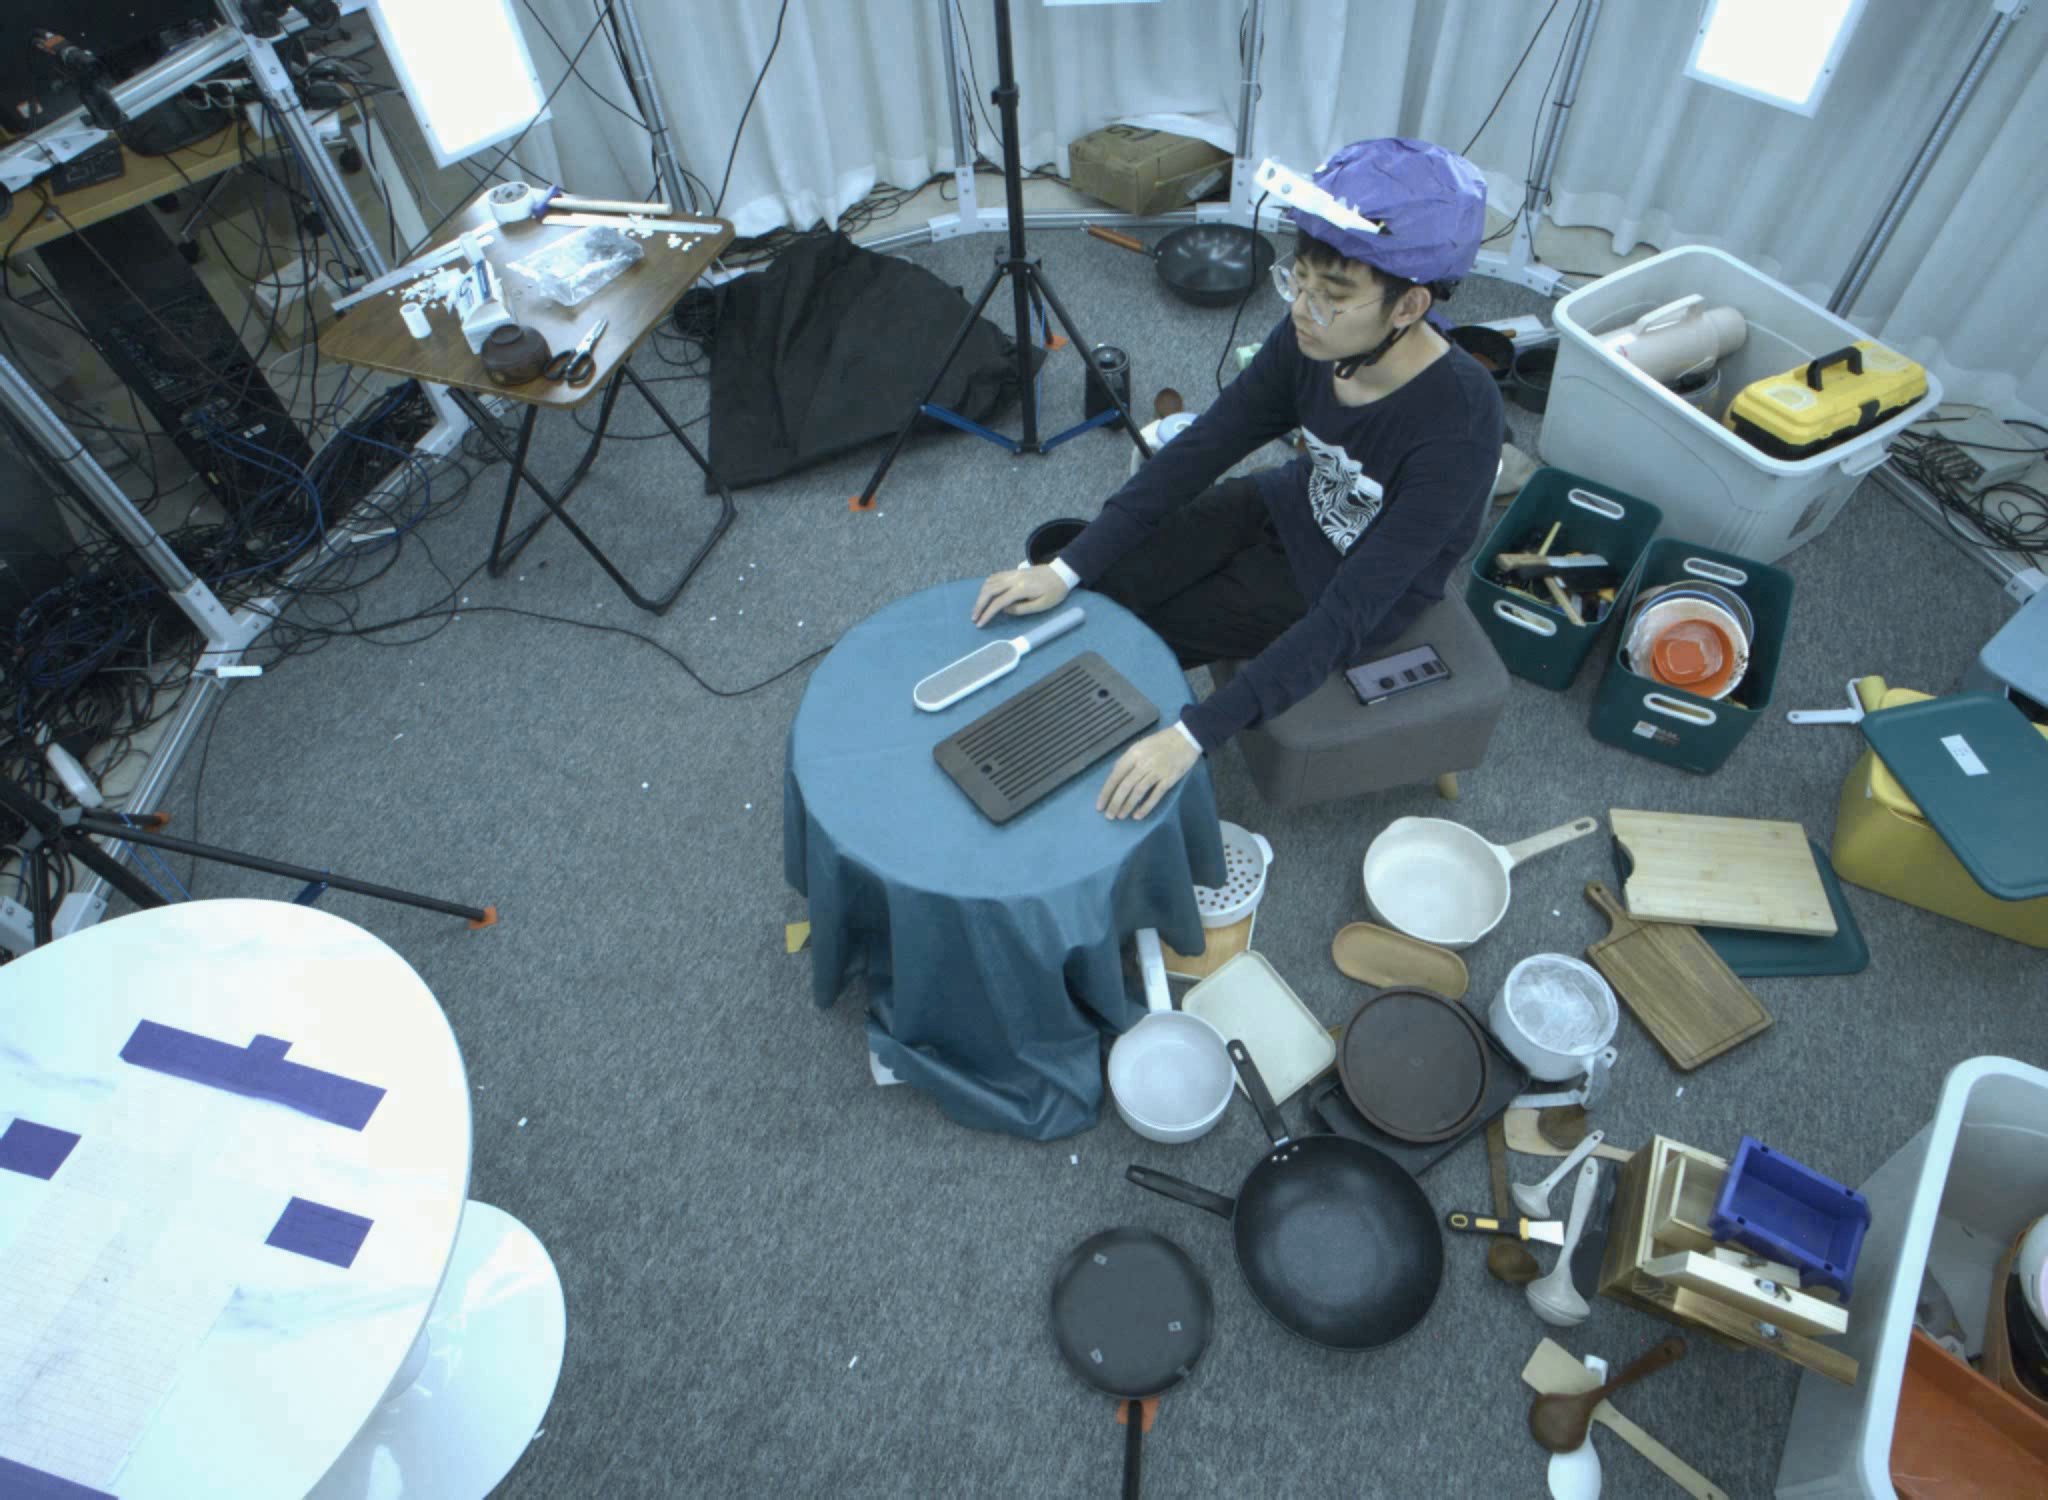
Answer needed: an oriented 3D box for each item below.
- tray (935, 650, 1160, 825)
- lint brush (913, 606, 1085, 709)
[{"bbox_3d":[0.036,-0.022,1.799,0.308,0.019,0.167,-33,60,-21],"label":"tray"},{"bbox_3d":[-0.034,-0.145,1.883,0.311,0.021,0.059,-30,54,-19],"label":"lint brush"}]
